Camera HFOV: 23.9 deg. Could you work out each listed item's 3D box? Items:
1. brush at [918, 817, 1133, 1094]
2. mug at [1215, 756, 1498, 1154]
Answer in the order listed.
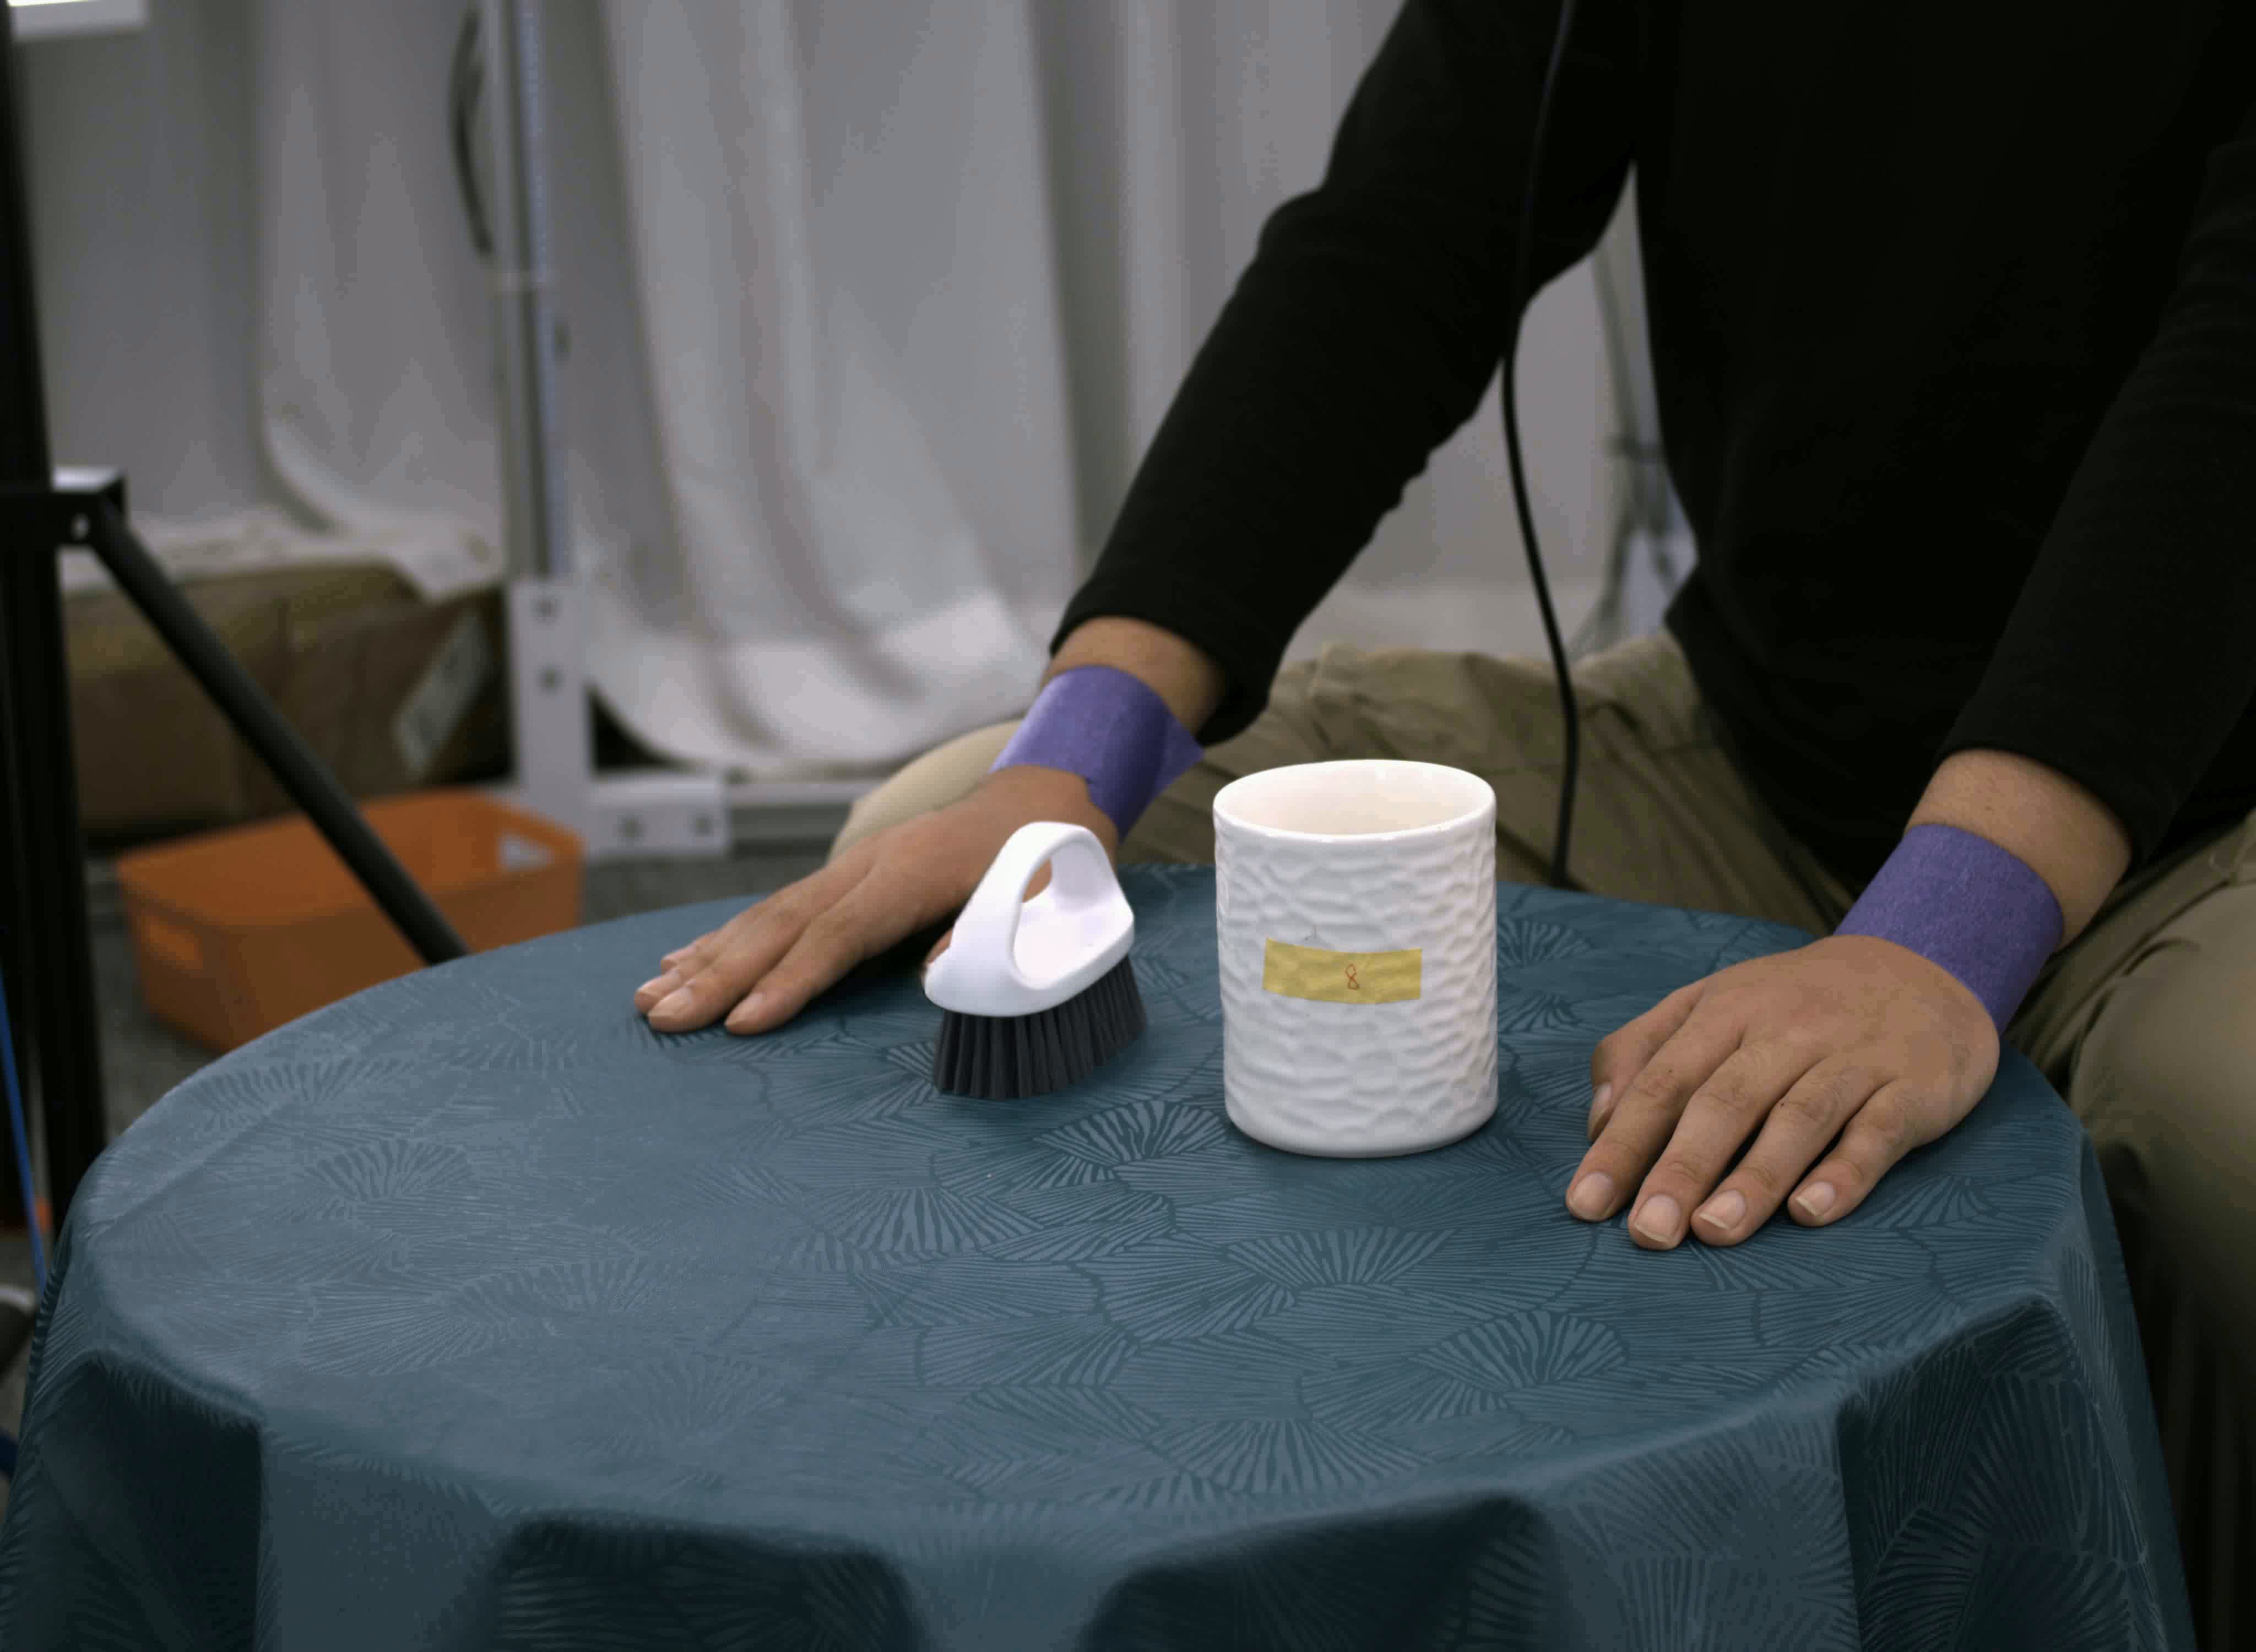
[{"bbox_3d":[-0.032,0.036,1.684,0.051,0.072,0.098,7,18,23],"label":"brush"},{"bbox_3d":[0.078,0.035,1.614,0.086,0.102,0.116,7,17,31],"label":"mug"}]
